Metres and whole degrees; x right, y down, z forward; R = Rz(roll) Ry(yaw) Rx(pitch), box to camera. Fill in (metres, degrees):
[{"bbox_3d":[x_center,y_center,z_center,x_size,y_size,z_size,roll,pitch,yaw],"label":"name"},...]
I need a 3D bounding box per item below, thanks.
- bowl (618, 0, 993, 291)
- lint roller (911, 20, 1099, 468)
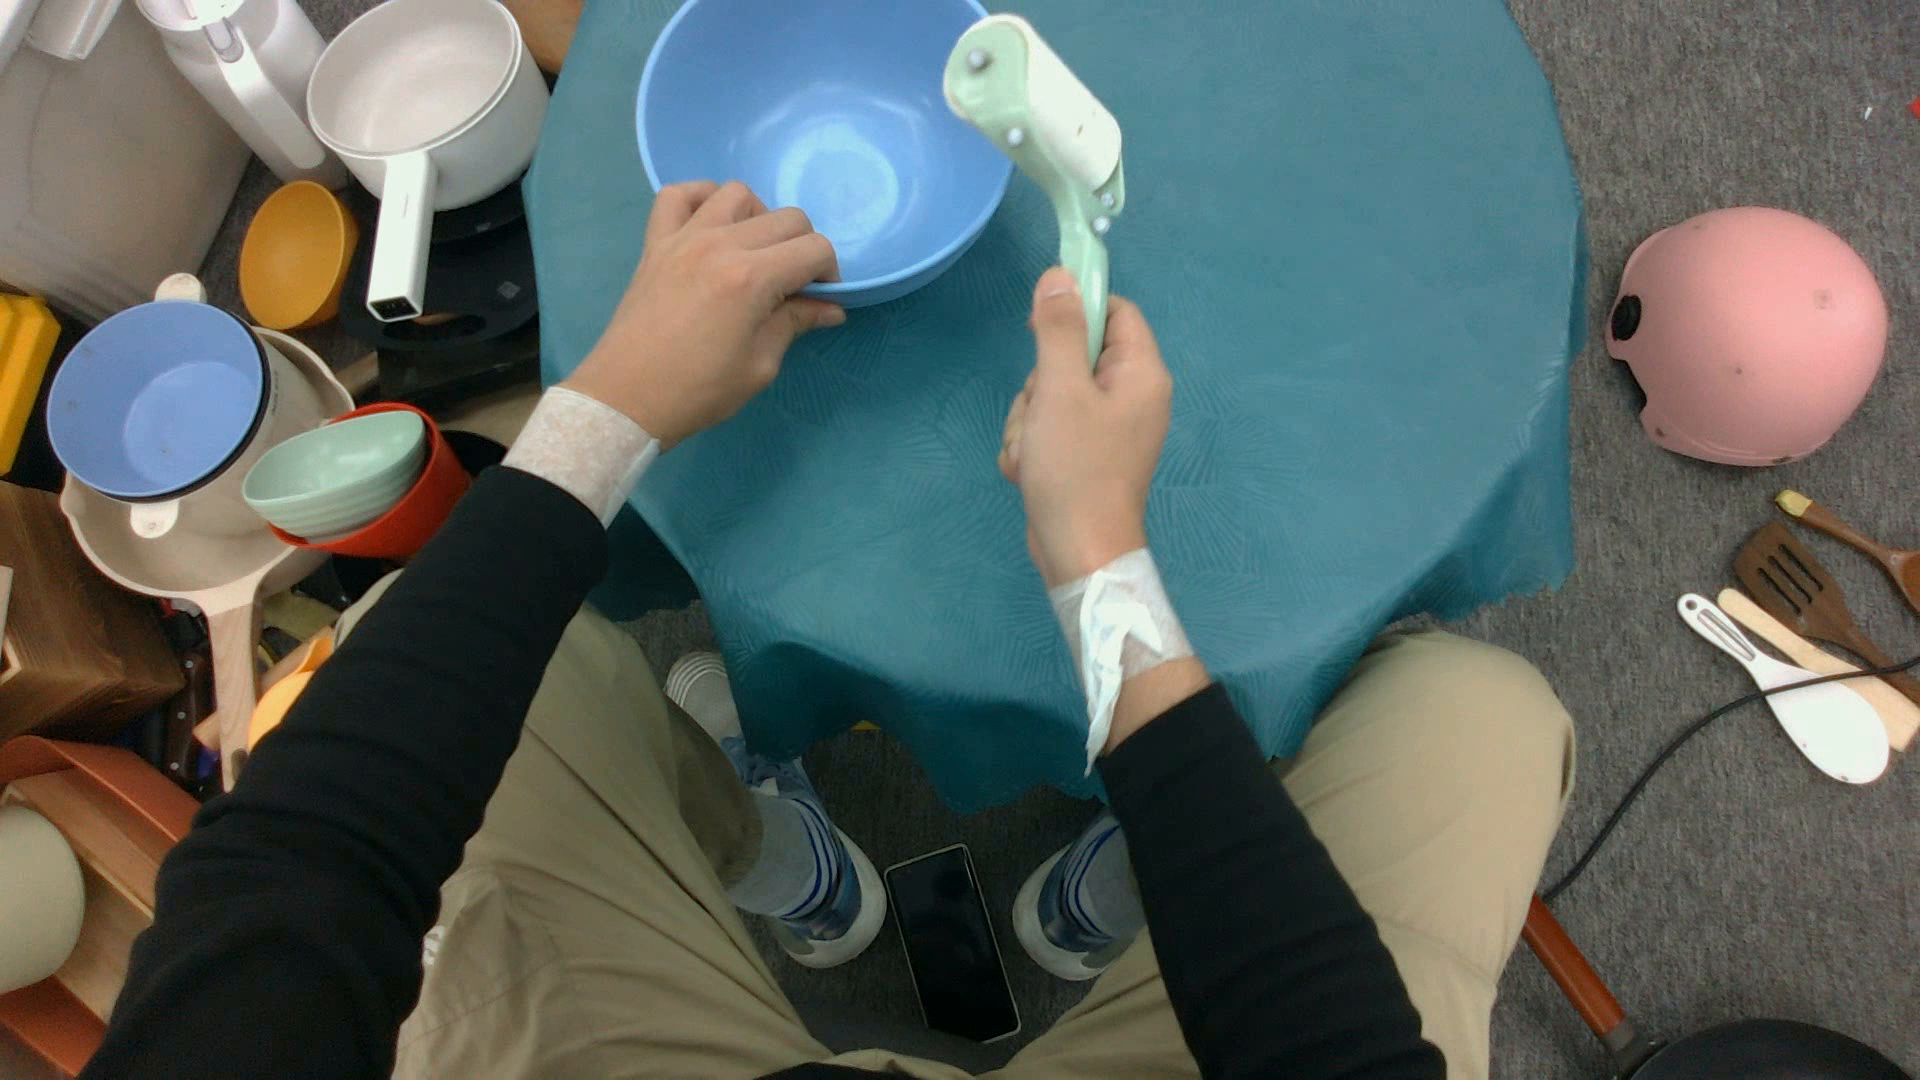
[{"bbox_3d":[-0.076,-0.214,0.742,0.196,0.095,0.197,1,75,-3],"label":"bowl"},{"bbox_3d":[0.030,-0.132,0.639,0.048,0.117,0.198,-13,76,29],"label":"lint roller"}]
